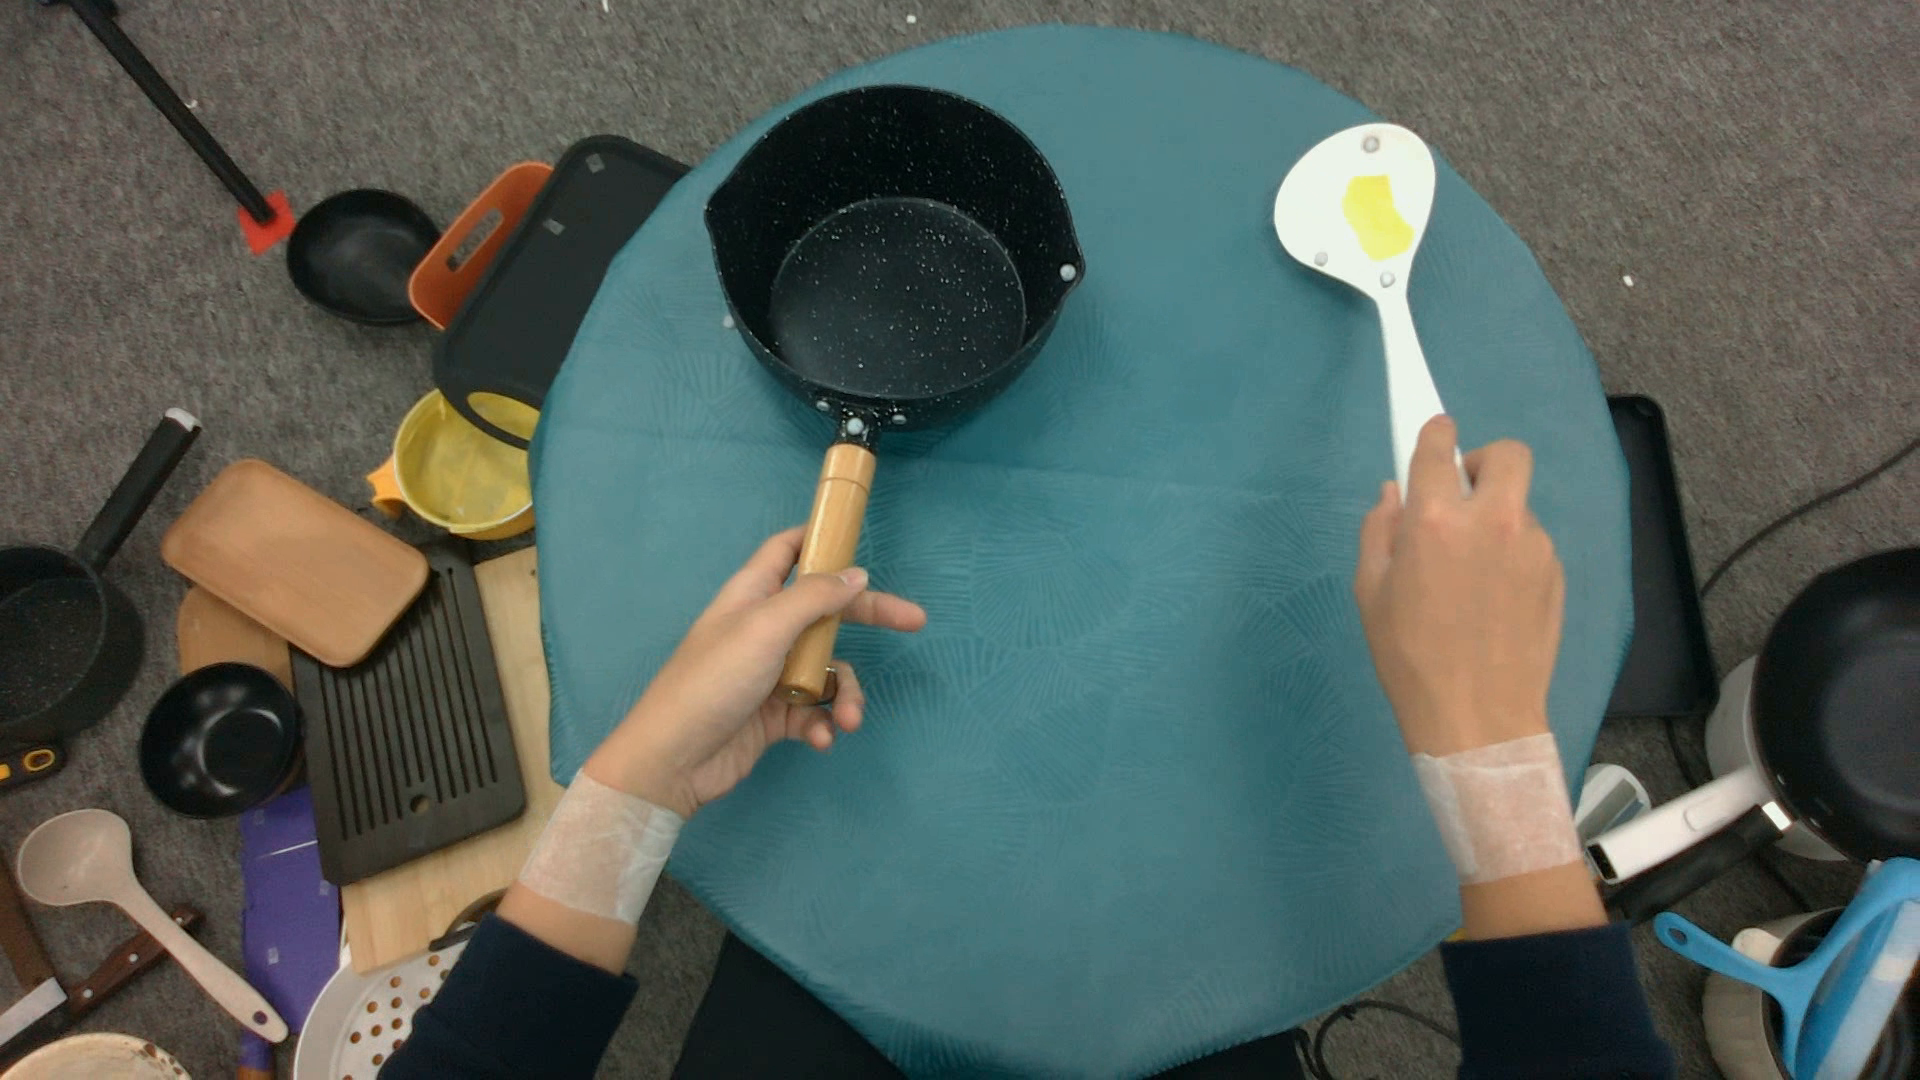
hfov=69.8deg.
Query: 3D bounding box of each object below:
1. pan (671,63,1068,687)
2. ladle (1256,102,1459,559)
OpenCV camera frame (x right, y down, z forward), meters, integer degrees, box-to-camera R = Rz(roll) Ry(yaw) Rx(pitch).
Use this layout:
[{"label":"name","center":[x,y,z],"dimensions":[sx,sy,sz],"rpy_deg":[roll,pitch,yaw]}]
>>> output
[{"label":"pan","center":[-0.057,-0.082,0.707],"dimensions":[0.207,0.108,0.344],"rpy_deg":[8,71,-1]},{"label":"ladle","center":[0.206,-0.118,0.696],"dimensions":[0.090,0.070,0.294],"rpy_deg":[-17,41,22]}]
